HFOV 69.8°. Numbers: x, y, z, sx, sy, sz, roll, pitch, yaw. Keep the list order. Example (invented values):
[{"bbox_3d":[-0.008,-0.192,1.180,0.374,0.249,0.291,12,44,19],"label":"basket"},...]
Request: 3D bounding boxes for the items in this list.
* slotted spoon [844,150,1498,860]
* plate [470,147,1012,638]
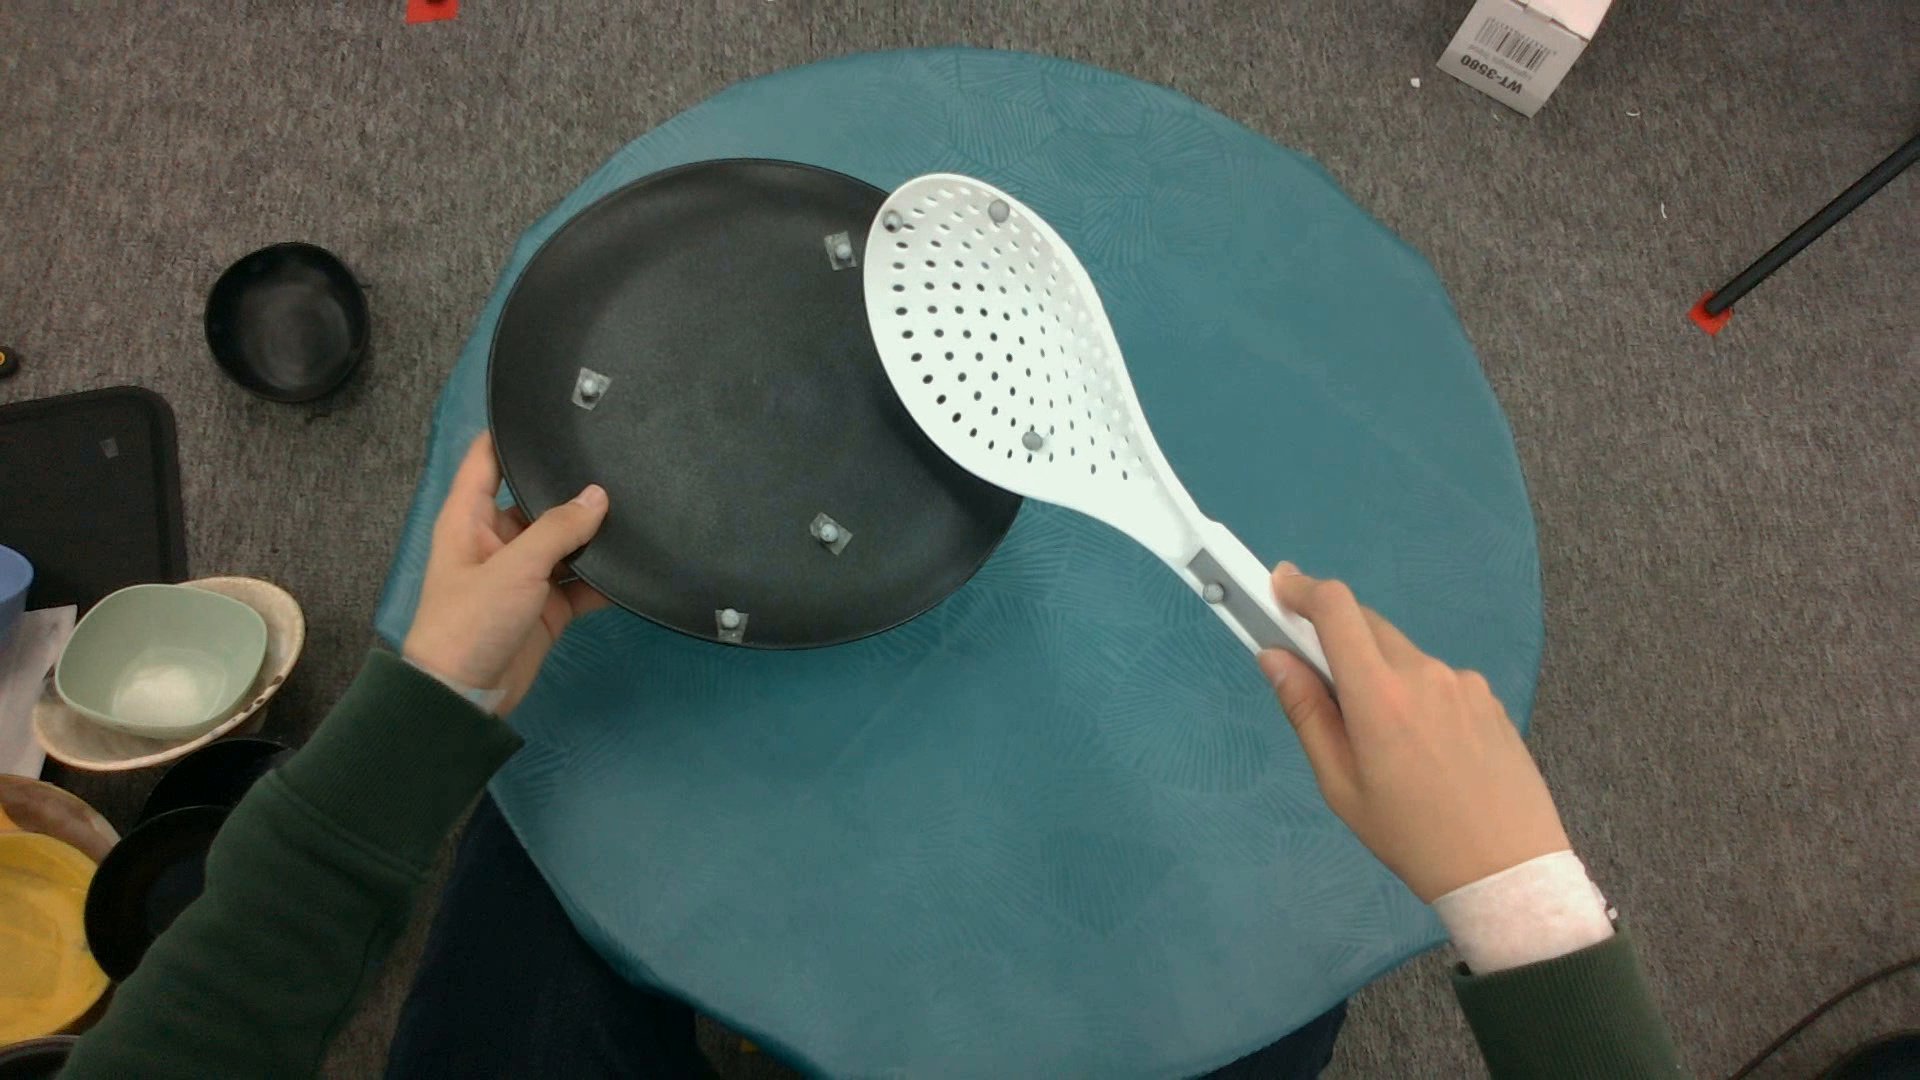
[{"bbox_3d":[0.077,-0.015,0.541,0.046,0.135,0.350,-29,74,-34],"label":"slotted spoon"},{"bbox_3d":[-0.092,-0.070,0.622,0.244,0.023,0.245,5,68,-13],"label":"plate"}]
